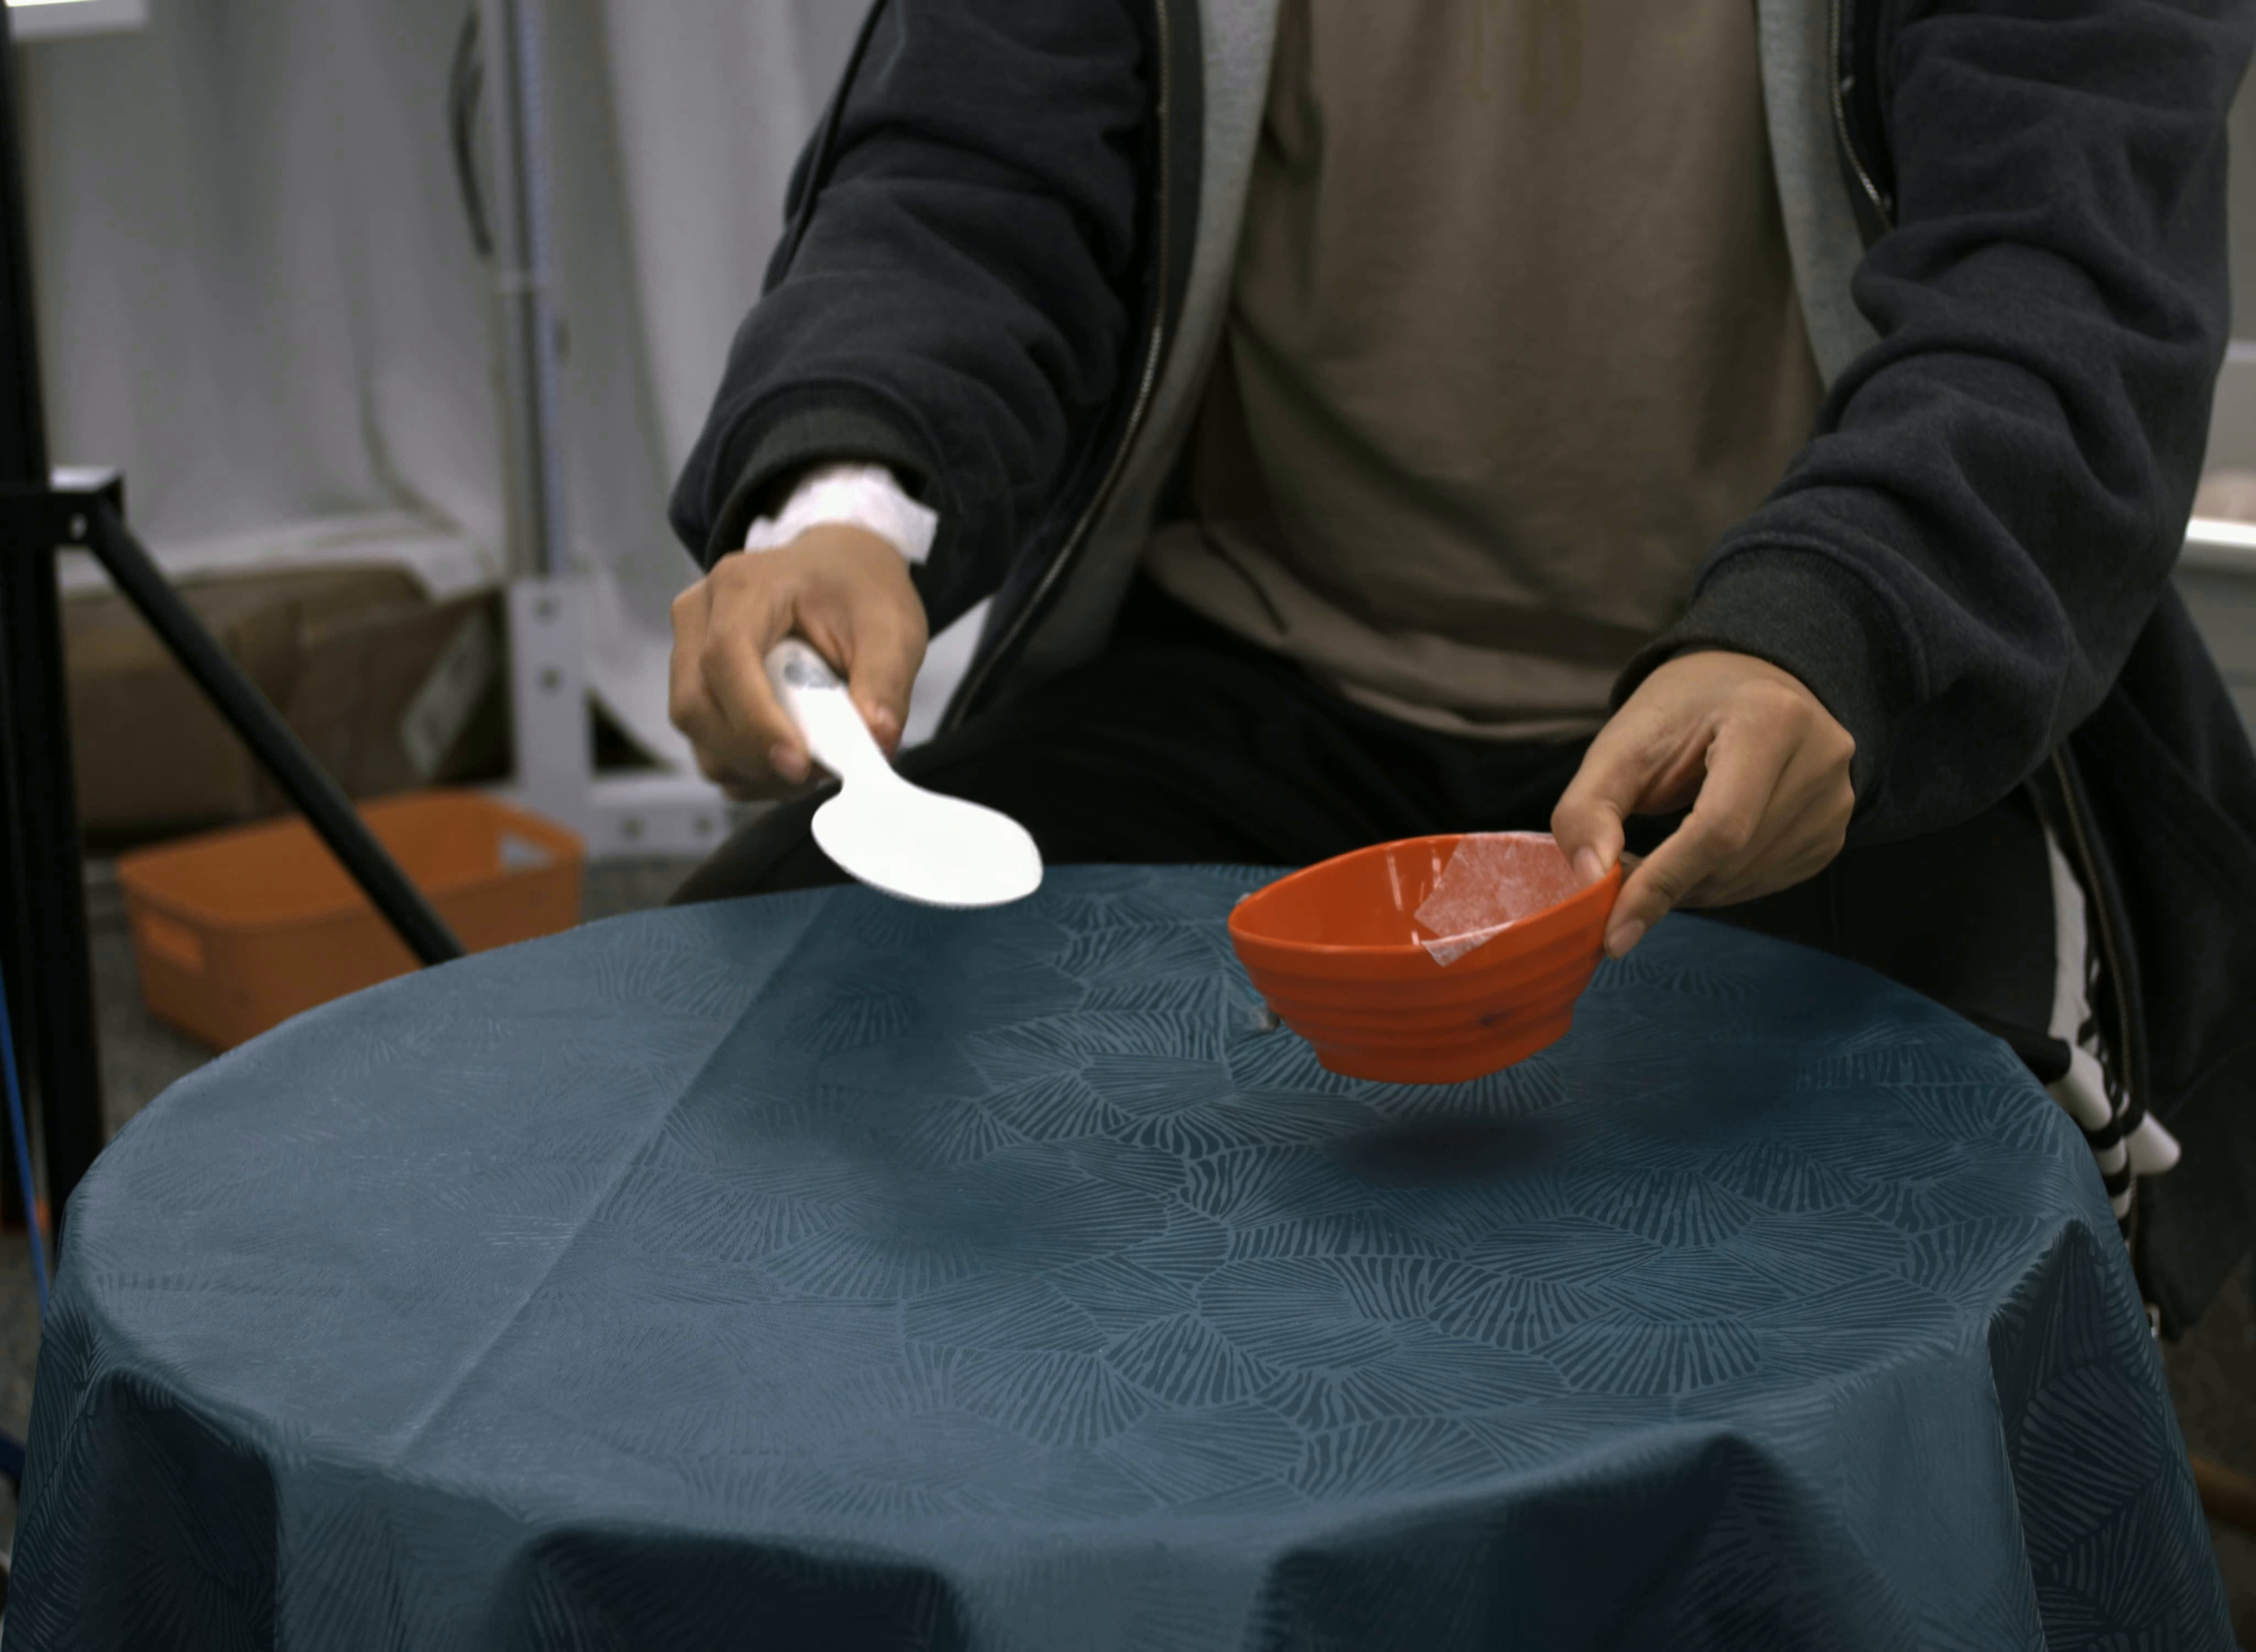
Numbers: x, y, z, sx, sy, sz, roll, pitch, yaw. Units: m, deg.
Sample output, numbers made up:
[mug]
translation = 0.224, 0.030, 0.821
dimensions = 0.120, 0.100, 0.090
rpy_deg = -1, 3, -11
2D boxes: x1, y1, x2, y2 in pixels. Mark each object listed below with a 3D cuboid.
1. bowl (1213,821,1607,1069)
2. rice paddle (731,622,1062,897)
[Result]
[bowl]
translation = 0.088, 0.038, 1.583
dimensions = 0.118, 0.051, 0.119
rpy_deg = -10, 13, 1
[rice paddle]
translation = -0.076, -0.018, 1.635
dimensions = 0.067, 0.029, 0.209
rpy_deg = -4, 21, -21
